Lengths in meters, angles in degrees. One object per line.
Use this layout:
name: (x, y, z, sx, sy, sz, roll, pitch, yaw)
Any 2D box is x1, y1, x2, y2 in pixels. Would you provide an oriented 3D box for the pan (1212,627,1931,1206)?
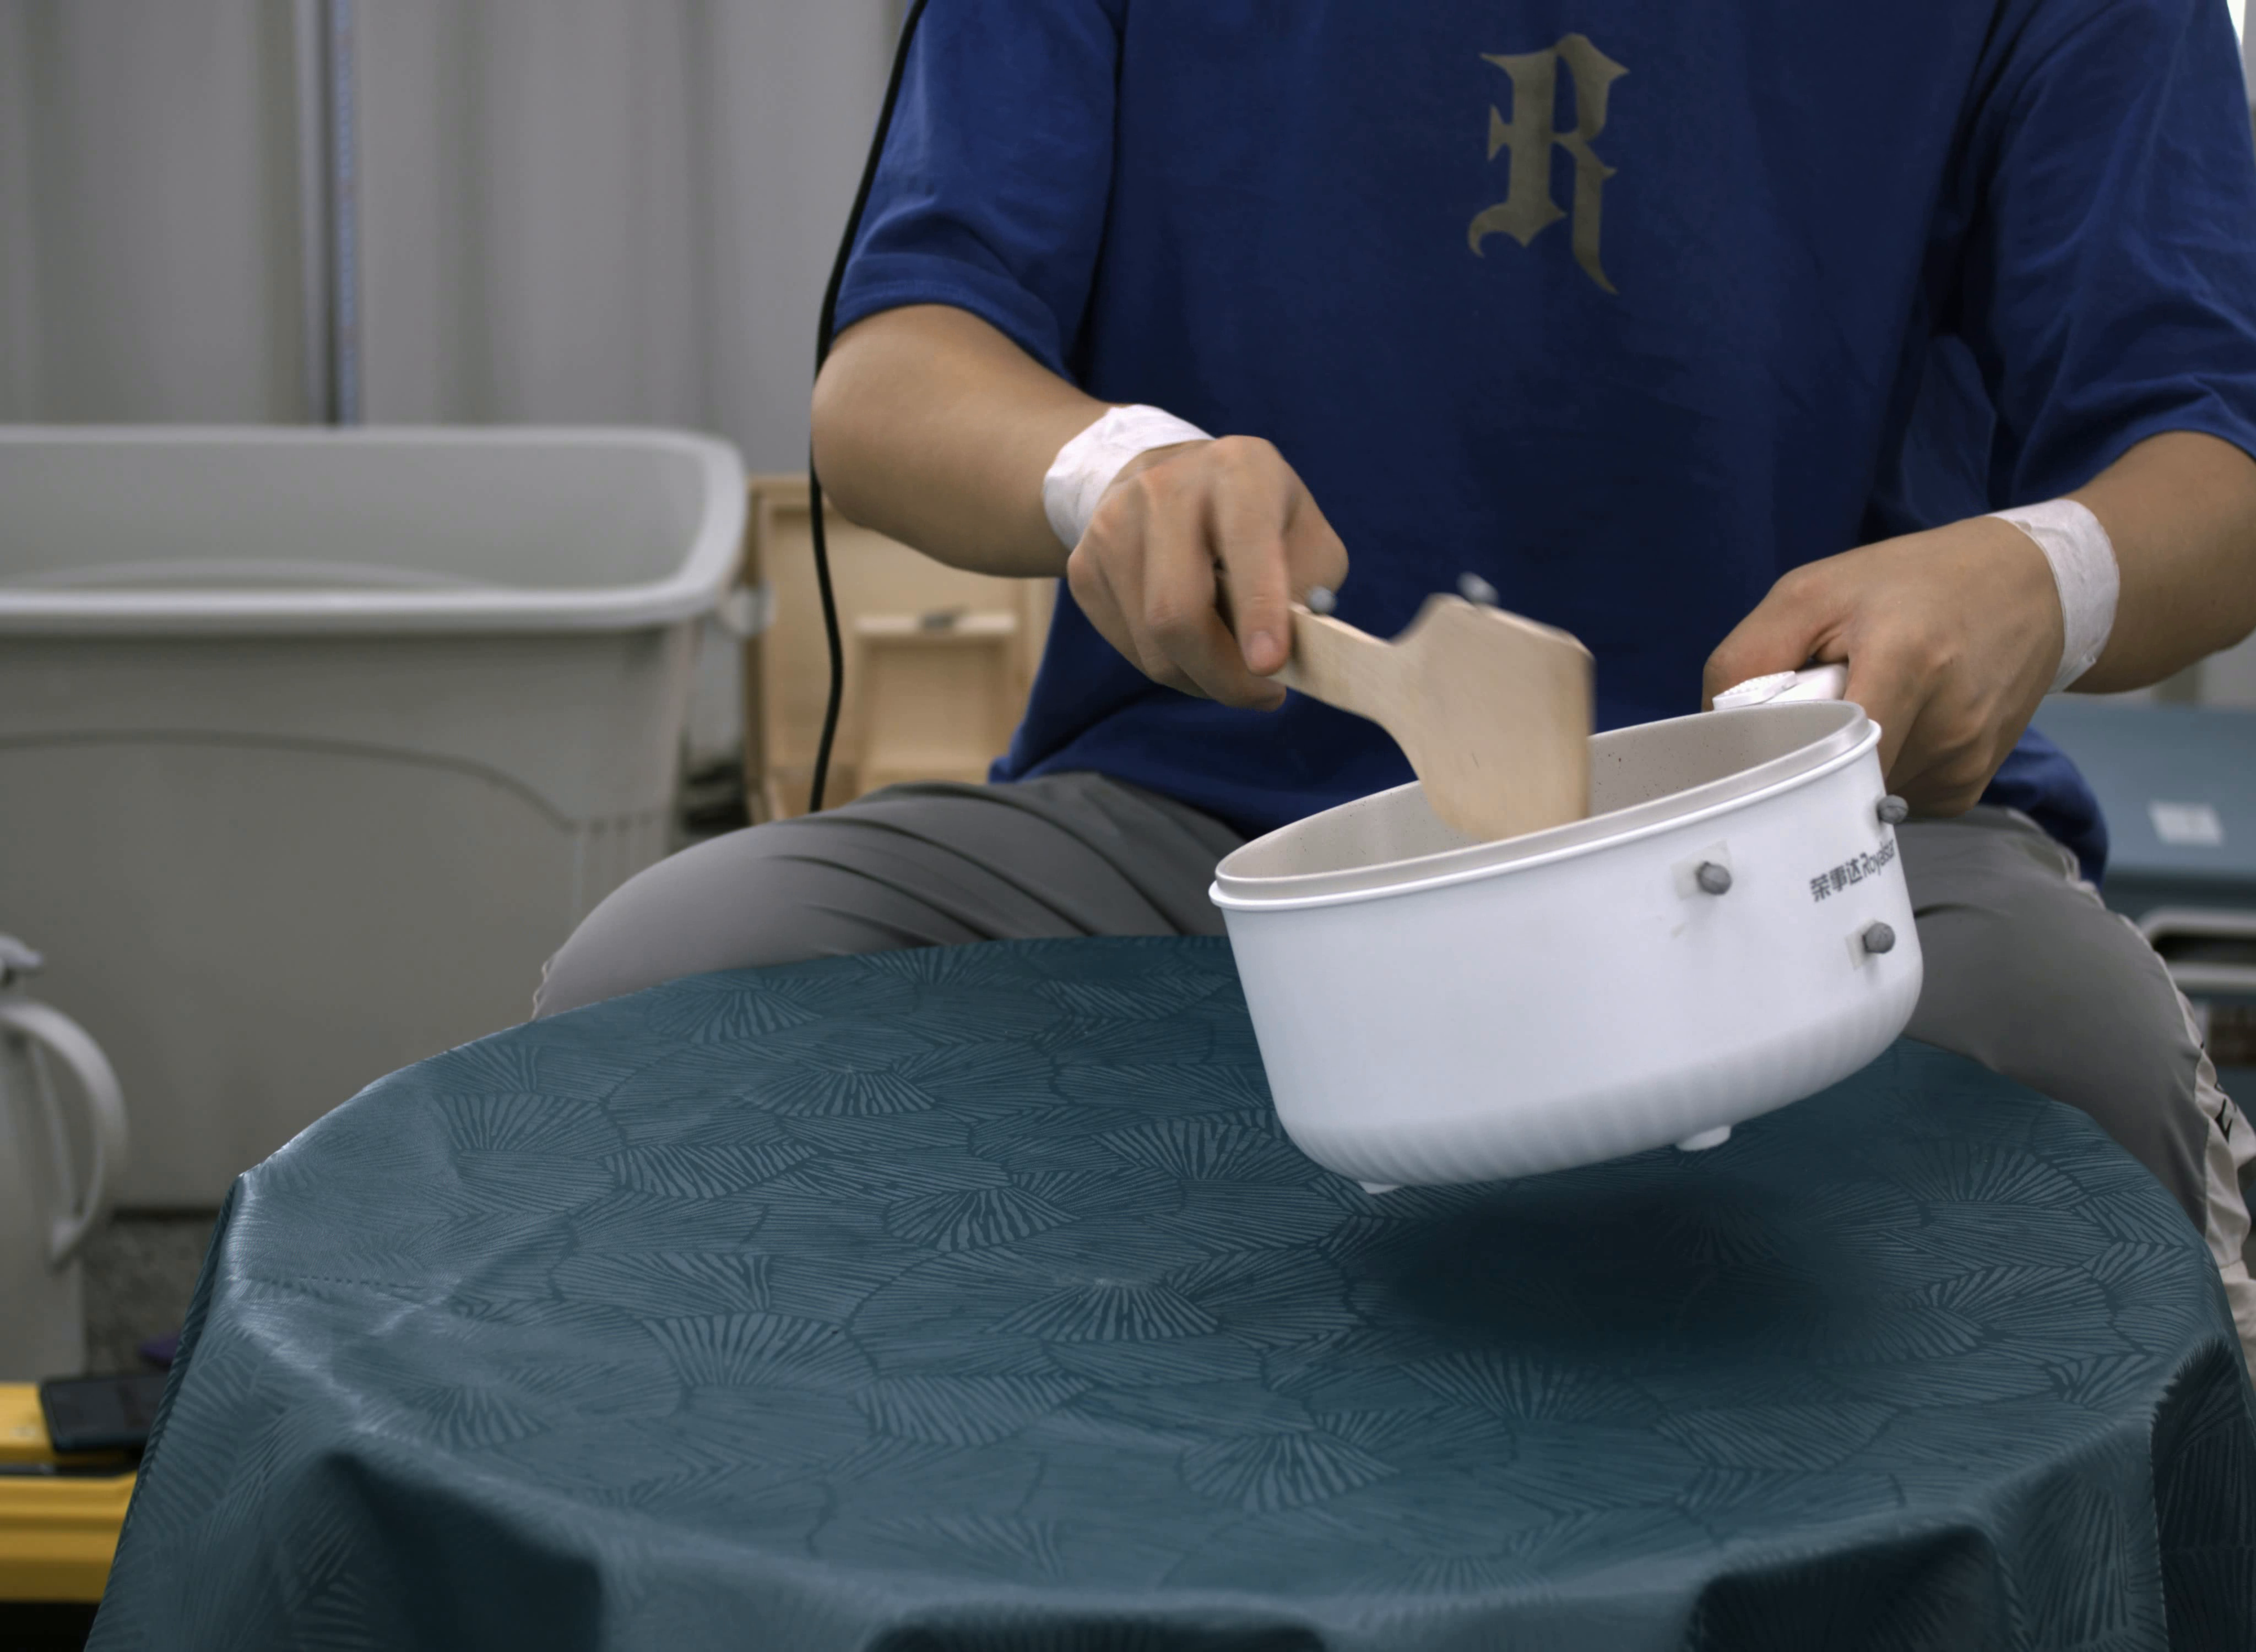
pan: (0.169, 0.022, 1.601, 0.199, 0.102, 0.356, -13, 6, 31)

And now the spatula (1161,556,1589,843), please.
spatula: (0.069, -0.047, 1.628, 0.011, 0.073, 0.289, -3, 14, -23)
